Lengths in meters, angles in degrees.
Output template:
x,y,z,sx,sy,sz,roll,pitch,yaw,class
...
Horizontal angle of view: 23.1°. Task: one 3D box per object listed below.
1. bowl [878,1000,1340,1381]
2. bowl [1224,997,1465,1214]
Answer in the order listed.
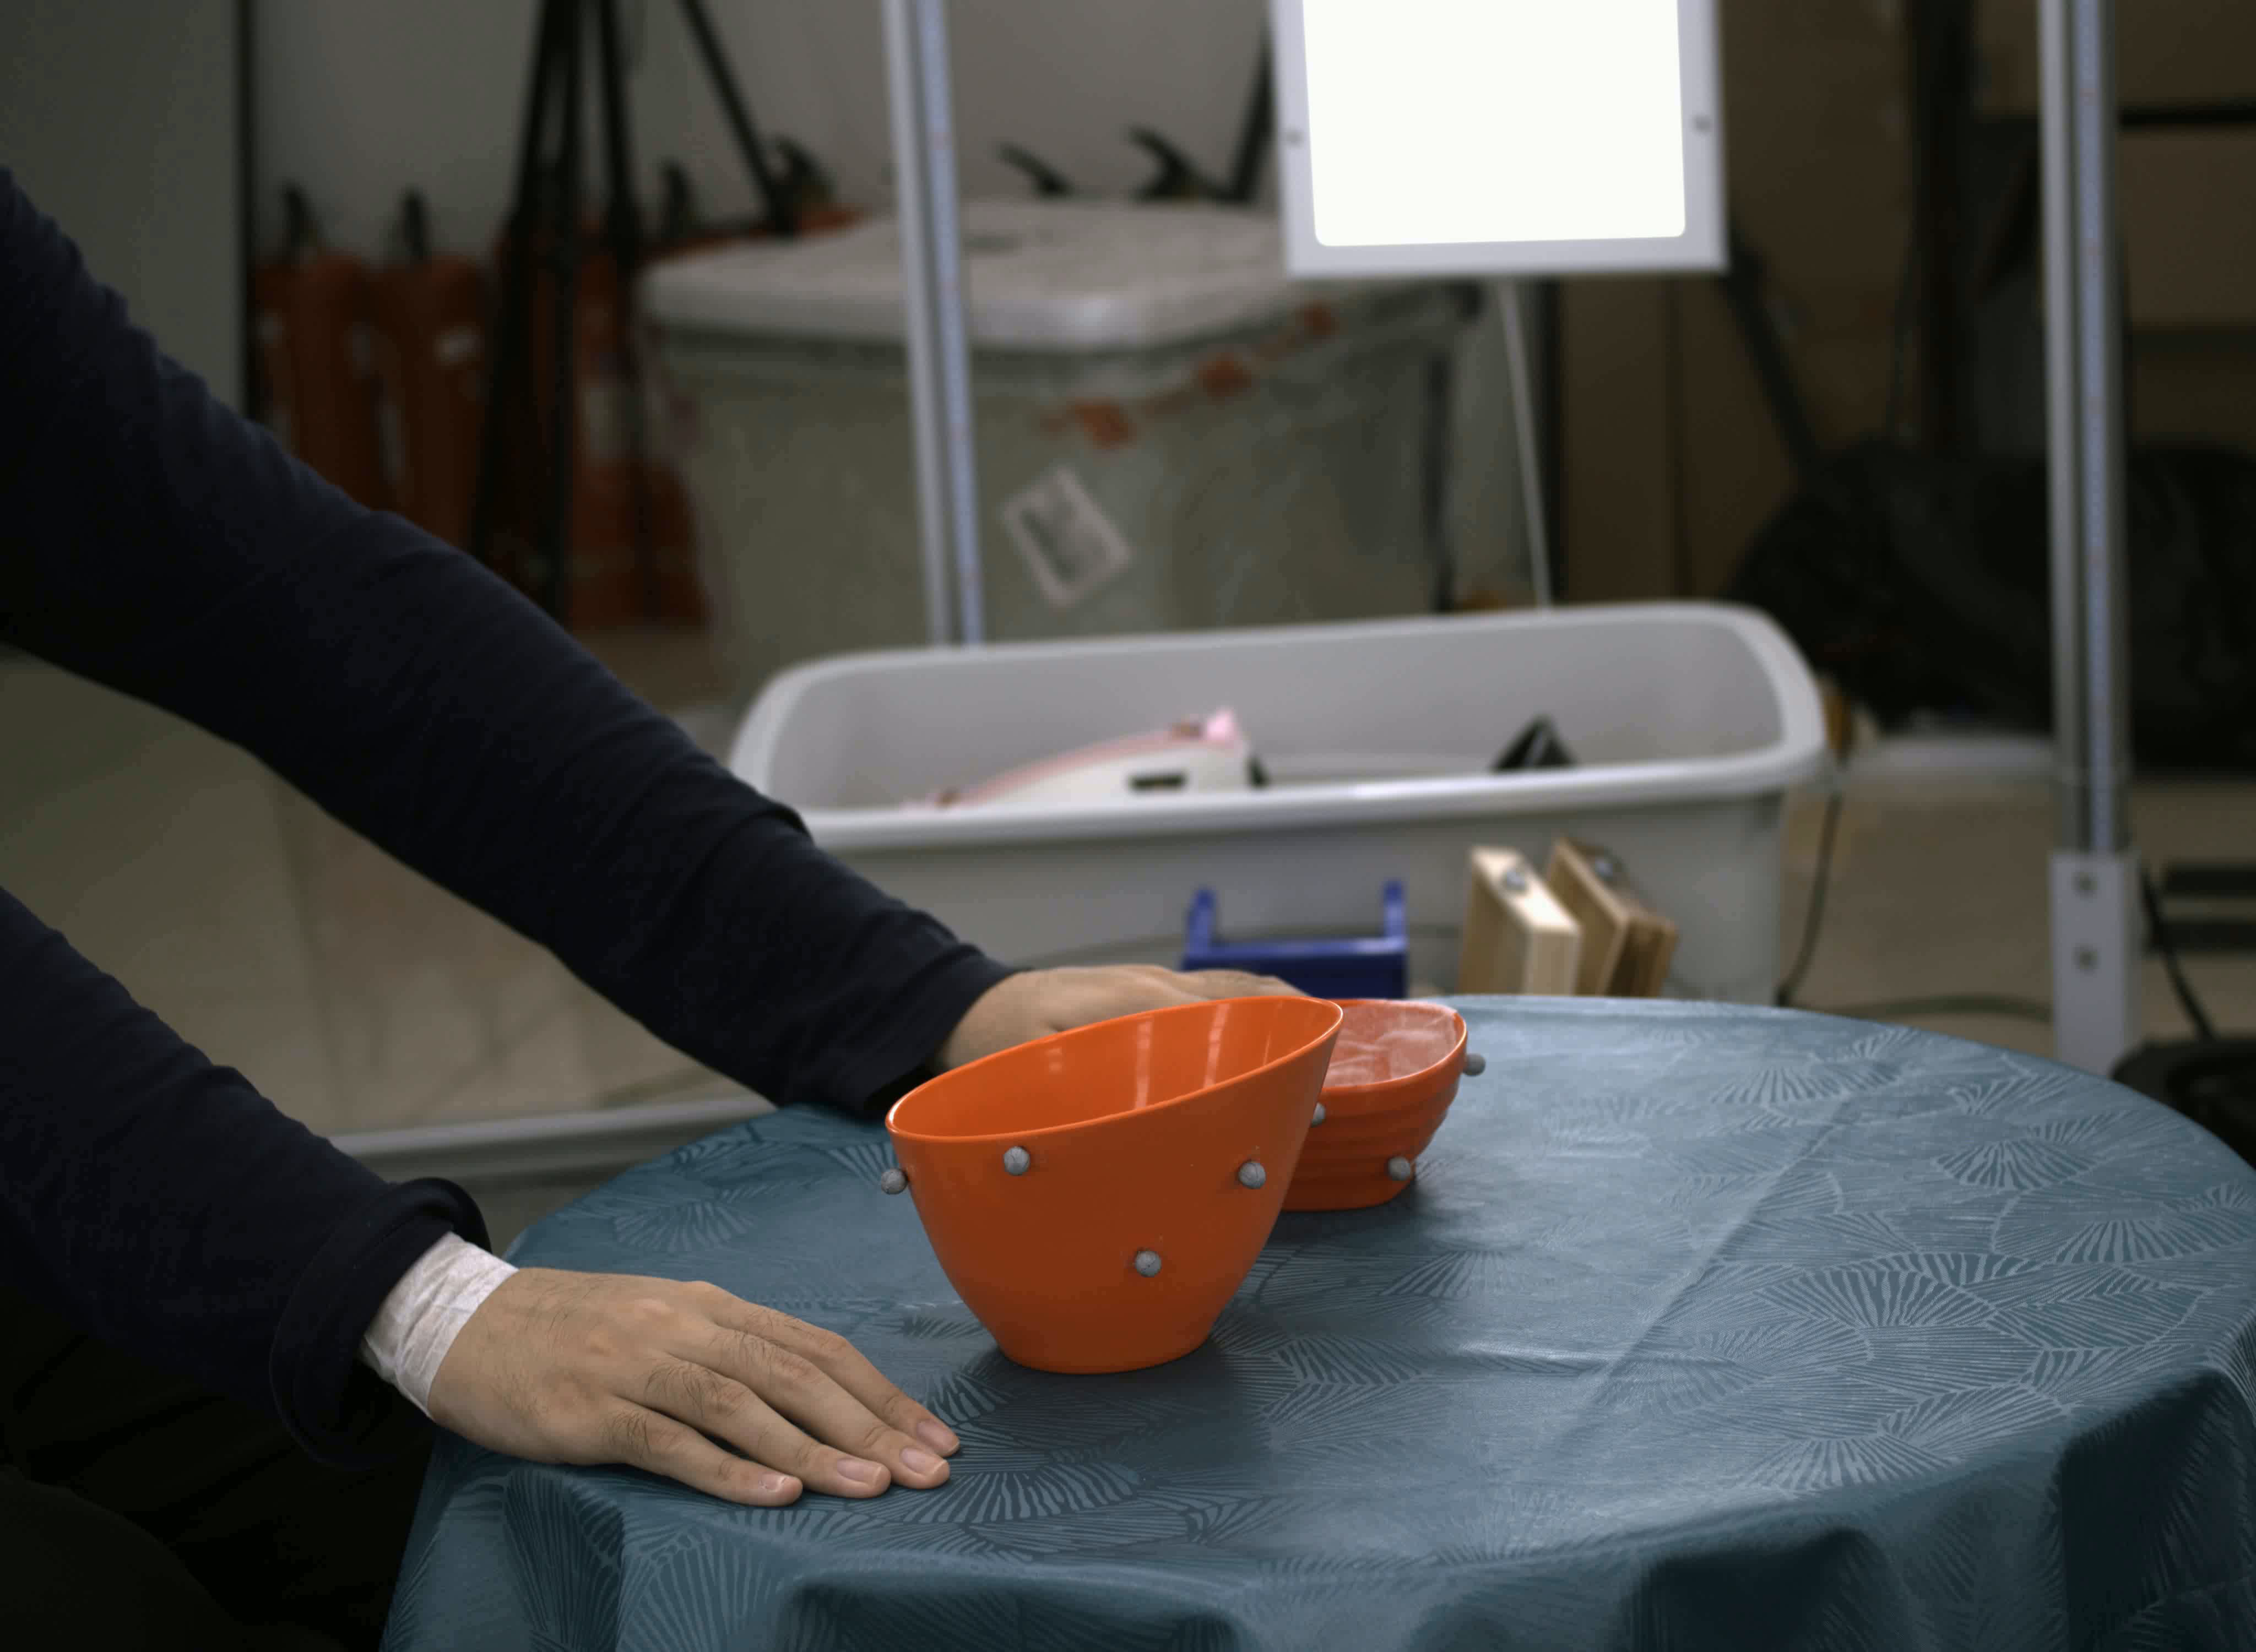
x,y,z,sx,sy,sz,roll,pitch,yaw,class
-0.003,0.116,1.735,0.147,0.105,0.148,-5,14,0,bowl
0.063,0.099,1.891,0.118,0.051,0.119,-7,15,0,bowl
